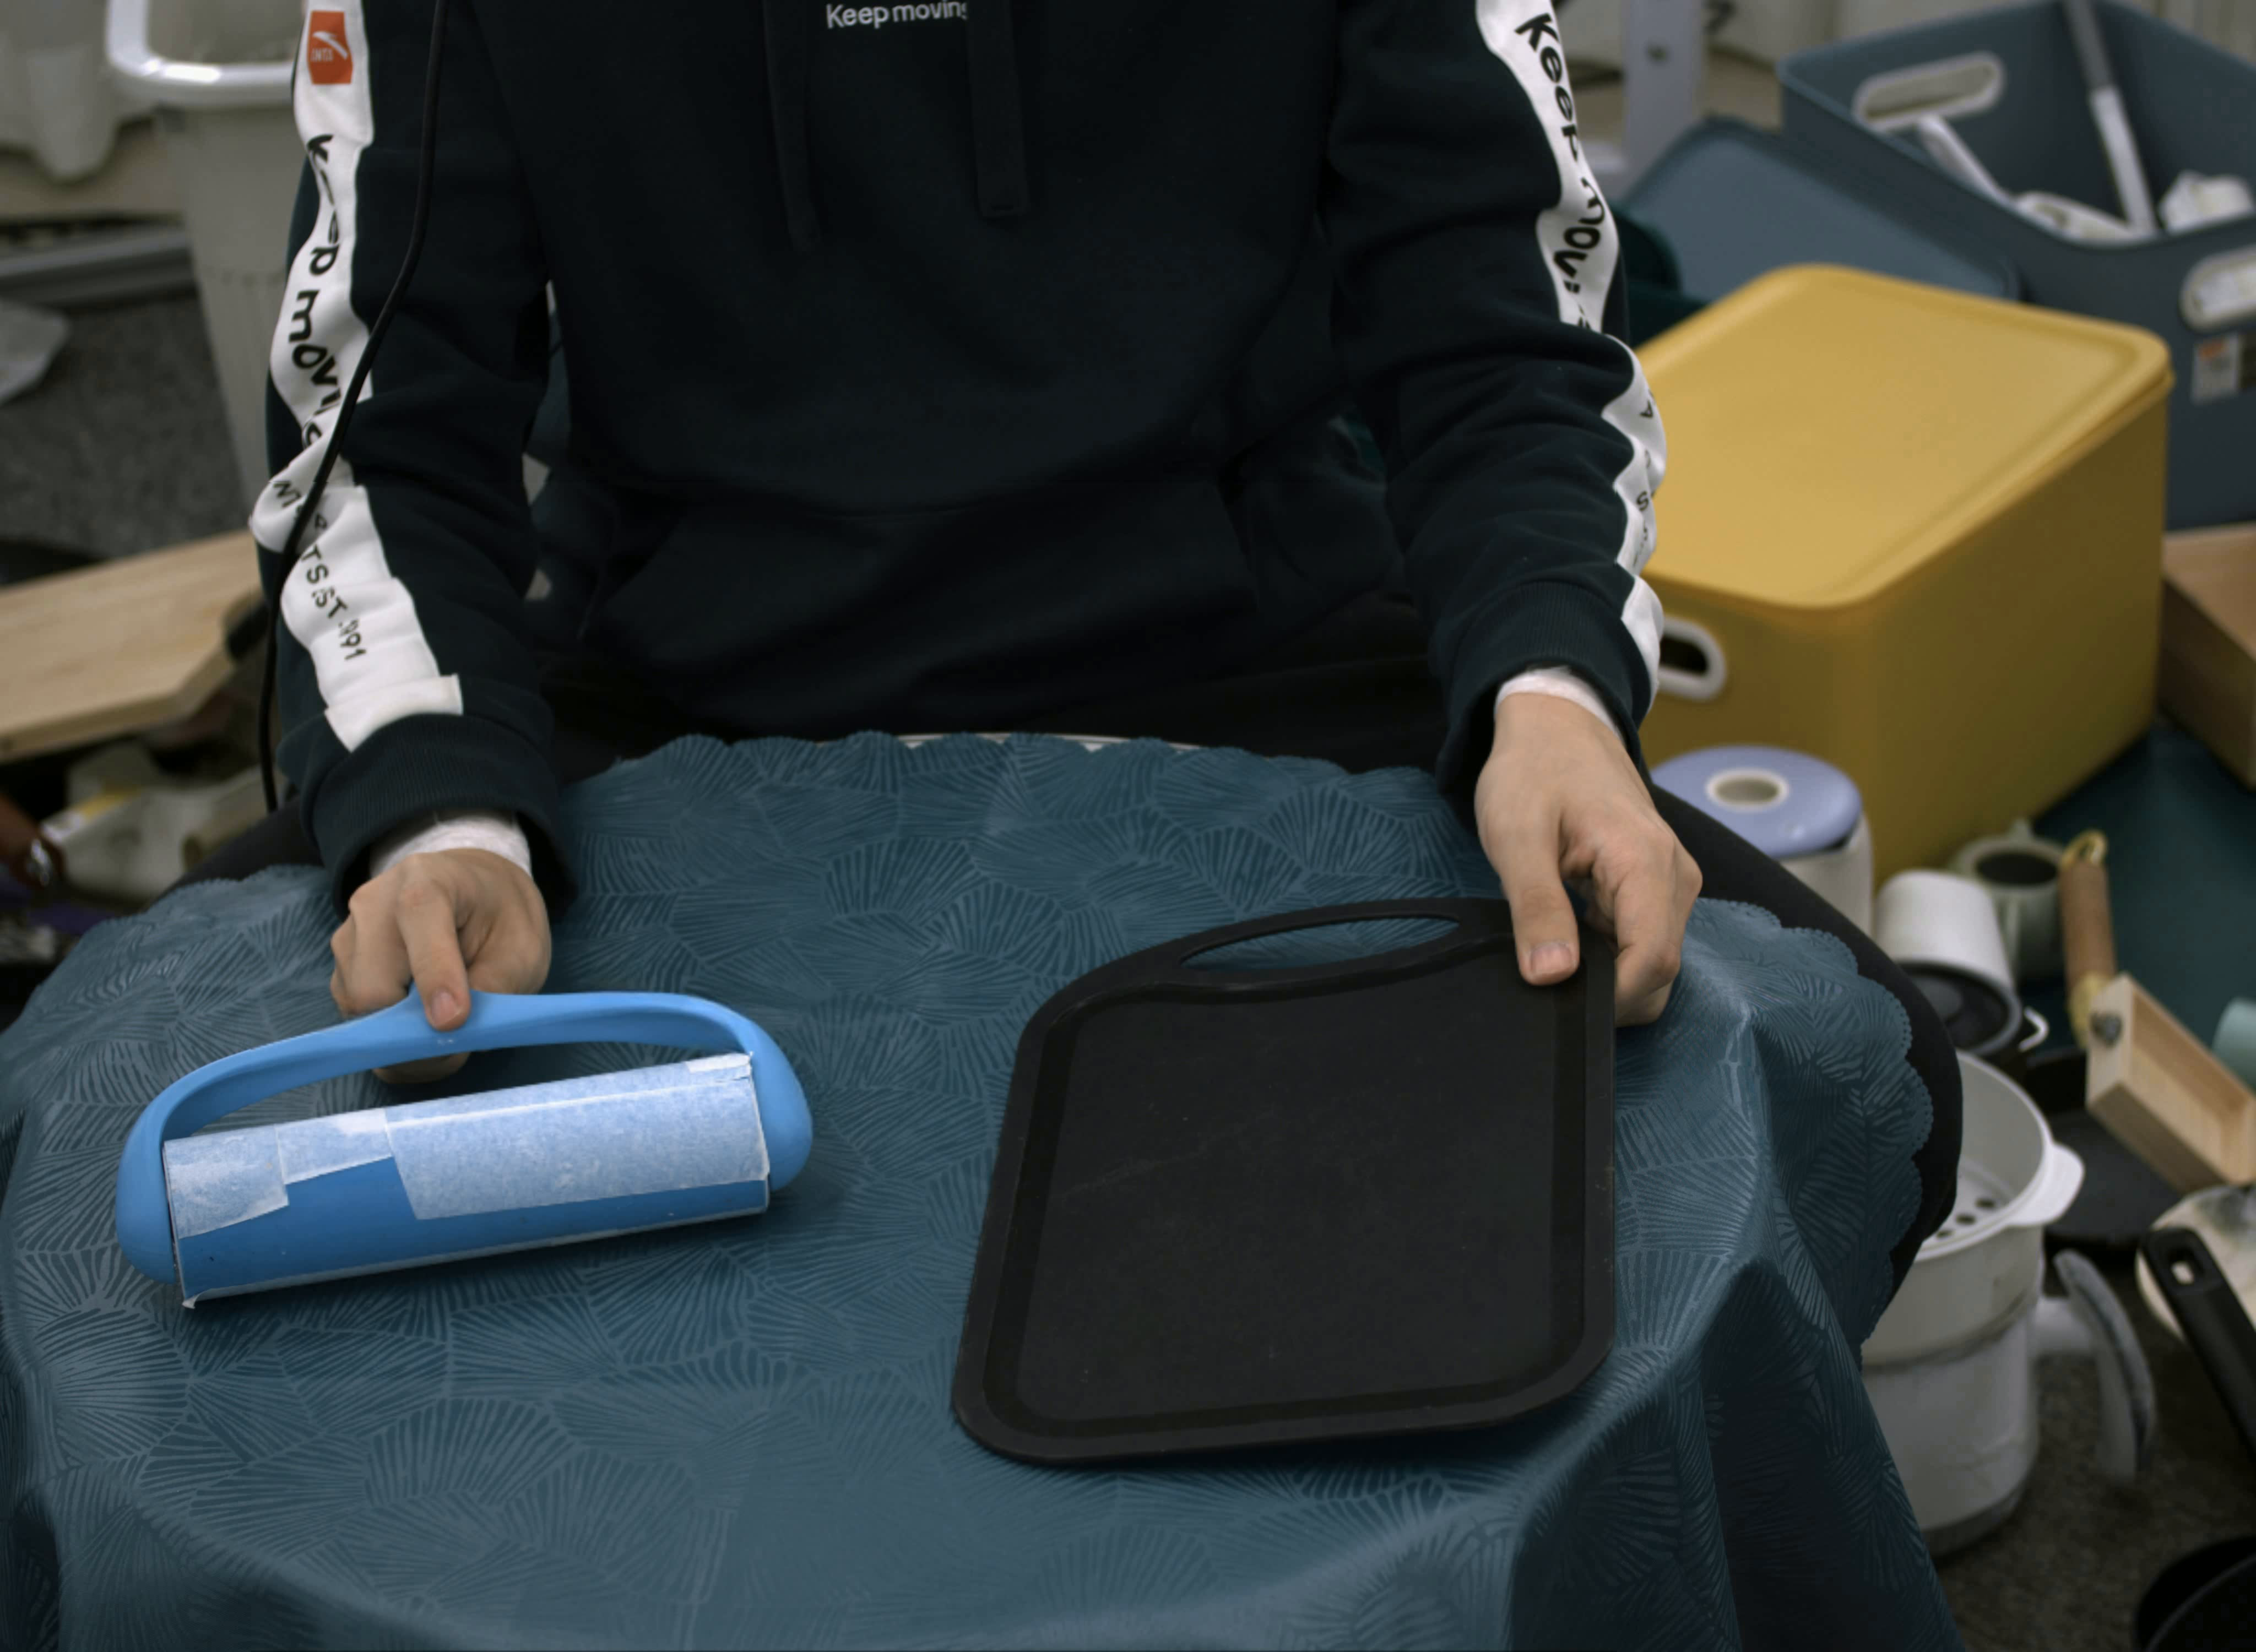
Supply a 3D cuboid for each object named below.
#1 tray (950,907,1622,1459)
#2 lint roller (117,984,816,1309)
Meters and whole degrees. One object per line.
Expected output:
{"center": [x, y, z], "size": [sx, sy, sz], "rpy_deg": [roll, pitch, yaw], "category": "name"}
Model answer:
{"center": [0.056, 0.108, 1.847], "size": [0.209, 0.010, 0.331], "rpy_deg": [-6, 27, 9], "category": "tray"}
{"center": [-0.230, 0.088, 1.885], "size": [0.229, 0.067, 0.182], "rpy_deg": [-11, 29, -12], "category": "lint roller"}
